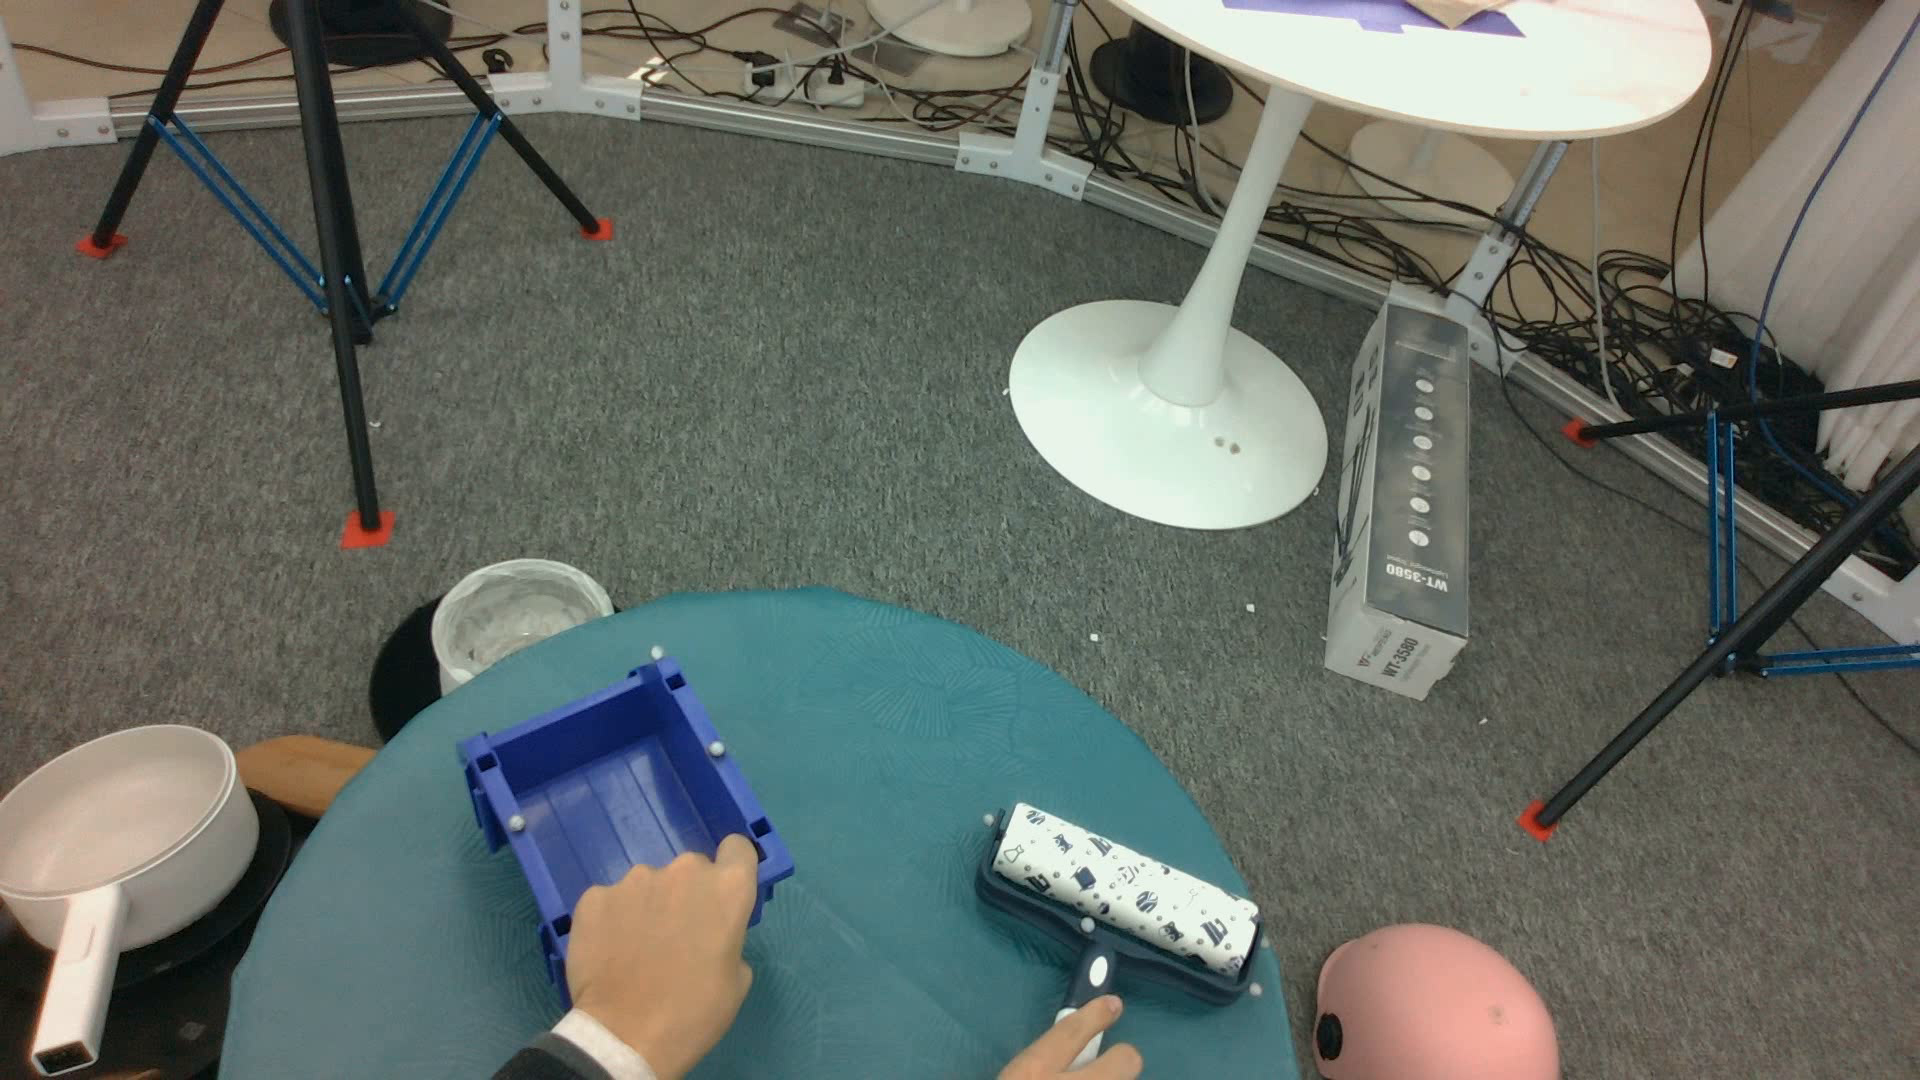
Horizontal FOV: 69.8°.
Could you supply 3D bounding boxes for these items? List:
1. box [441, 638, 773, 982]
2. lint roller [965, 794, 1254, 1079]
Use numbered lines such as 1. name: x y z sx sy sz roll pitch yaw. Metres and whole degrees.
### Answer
1. box: -0.202 0.143 0.765 0.125 0.081 0.179 -22 60 -26
2. lint roller: 0.063 0.273 0.779 0.176 0.050 0.248 22 45 4
